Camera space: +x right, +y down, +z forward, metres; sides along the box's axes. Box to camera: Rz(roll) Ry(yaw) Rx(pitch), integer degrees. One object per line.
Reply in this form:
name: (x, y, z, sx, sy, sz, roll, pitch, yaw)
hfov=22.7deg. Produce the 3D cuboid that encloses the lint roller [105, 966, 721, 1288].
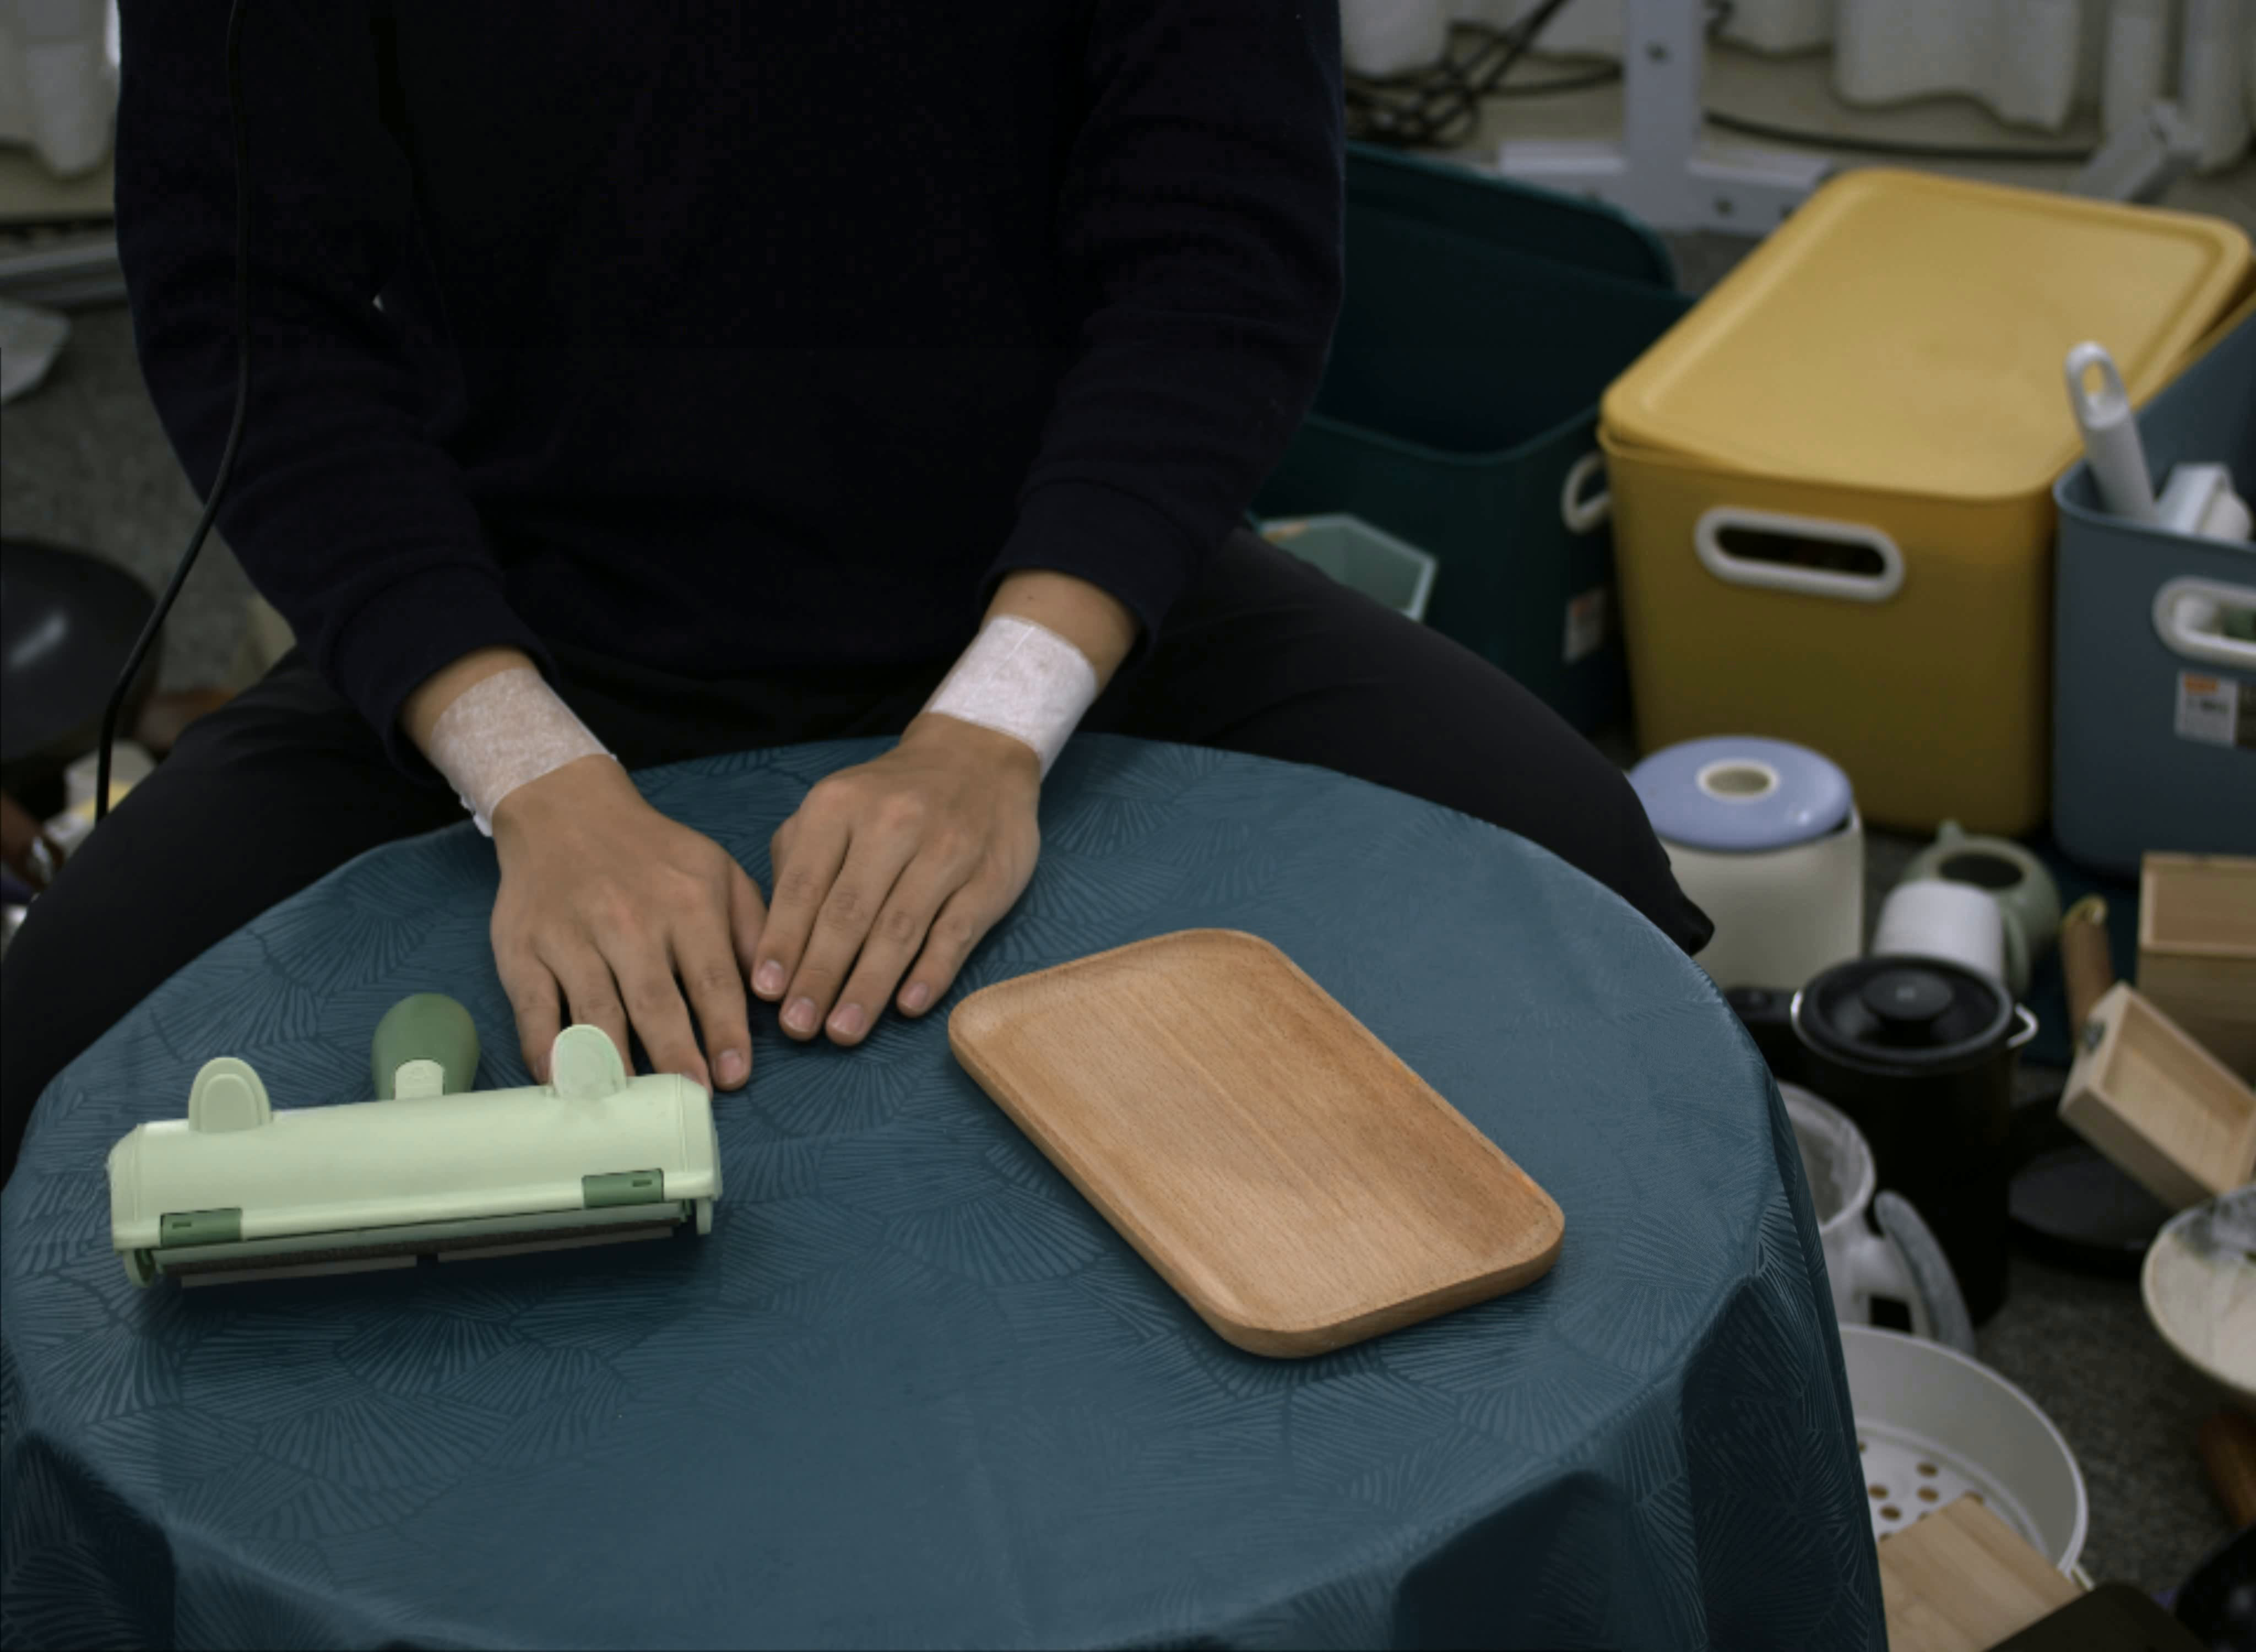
lint roller: (-0.239, 0.079, 1.875, 0.198, 0.081, 0.186, -5, 33, -5)

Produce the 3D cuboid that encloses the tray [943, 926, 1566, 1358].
tray: (0.038, 0.103, 1.877, 0.131, 0.022, 0.252, -13, 28, -23)
